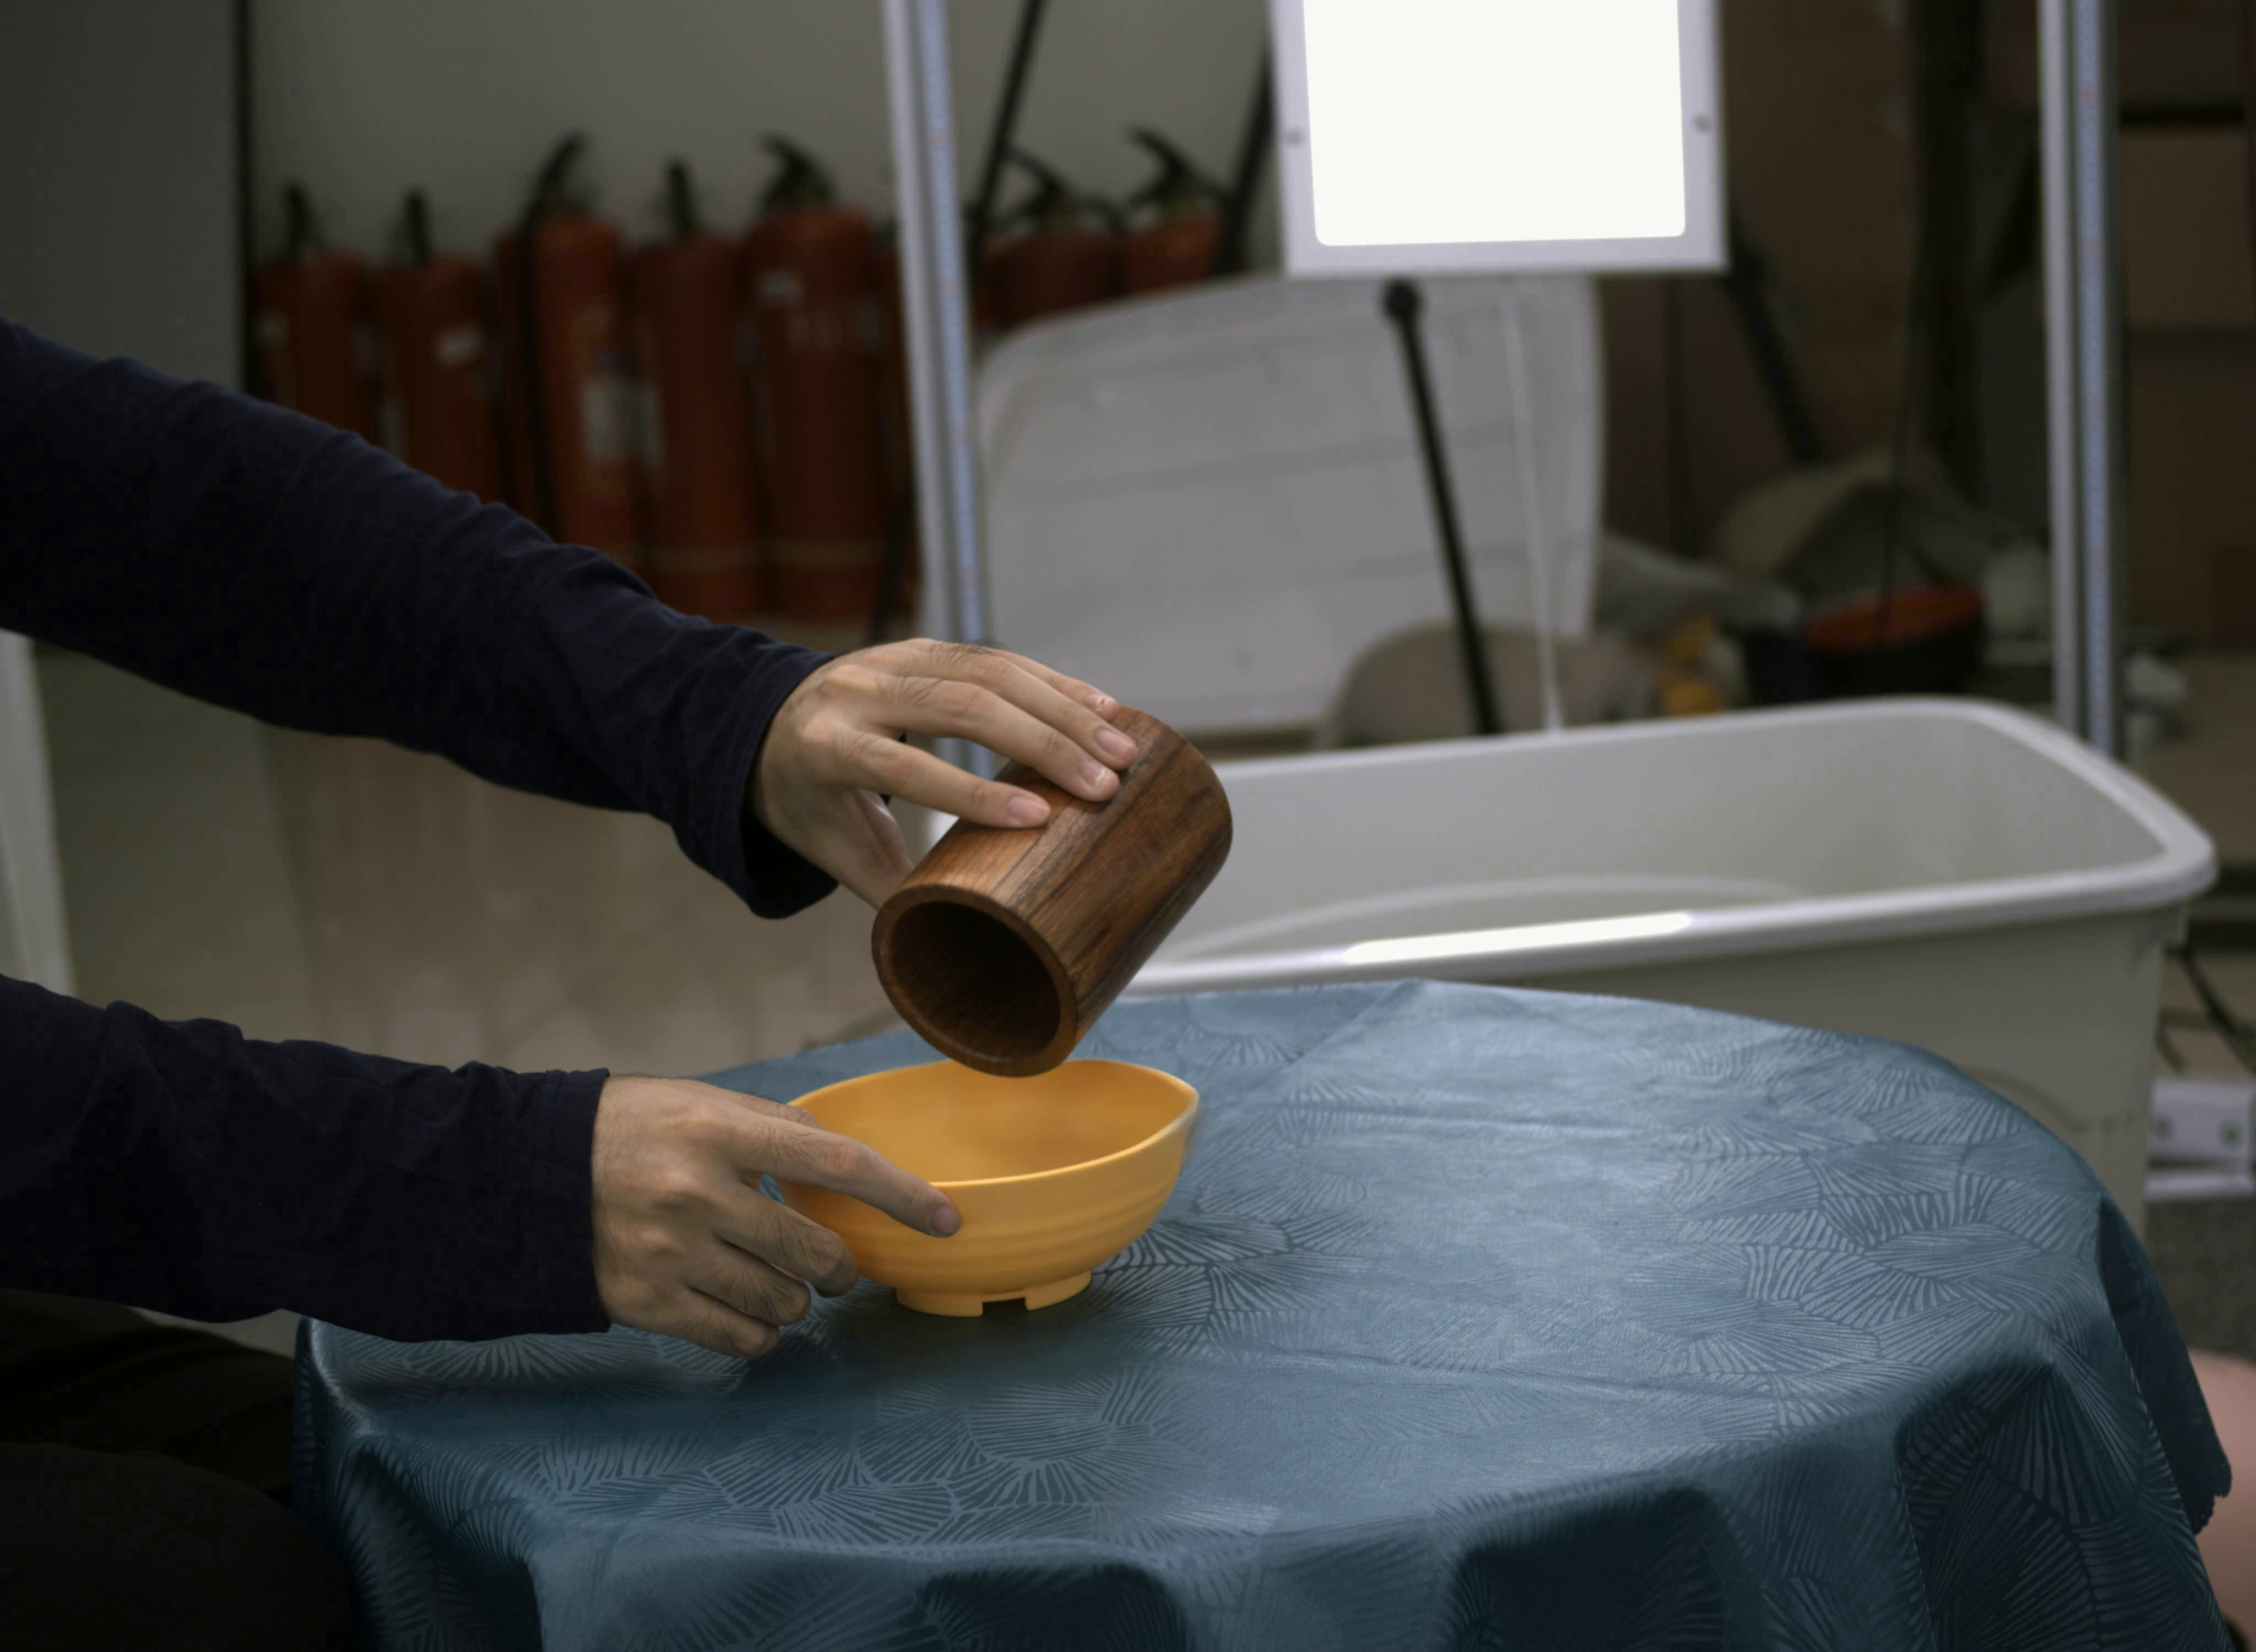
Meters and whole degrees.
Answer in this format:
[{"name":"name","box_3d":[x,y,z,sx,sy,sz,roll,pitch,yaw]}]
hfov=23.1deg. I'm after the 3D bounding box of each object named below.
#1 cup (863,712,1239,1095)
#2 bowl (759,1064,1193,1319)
[{"name":"cup","box_3d":[-0.025,0.026,1.843,0.089,0.088,0.116,5,33,34]},{"name":"bowl","box_3d":[-0.047,0.123,1.806,0.145,0.060,0.145,-6,12,0]}]
